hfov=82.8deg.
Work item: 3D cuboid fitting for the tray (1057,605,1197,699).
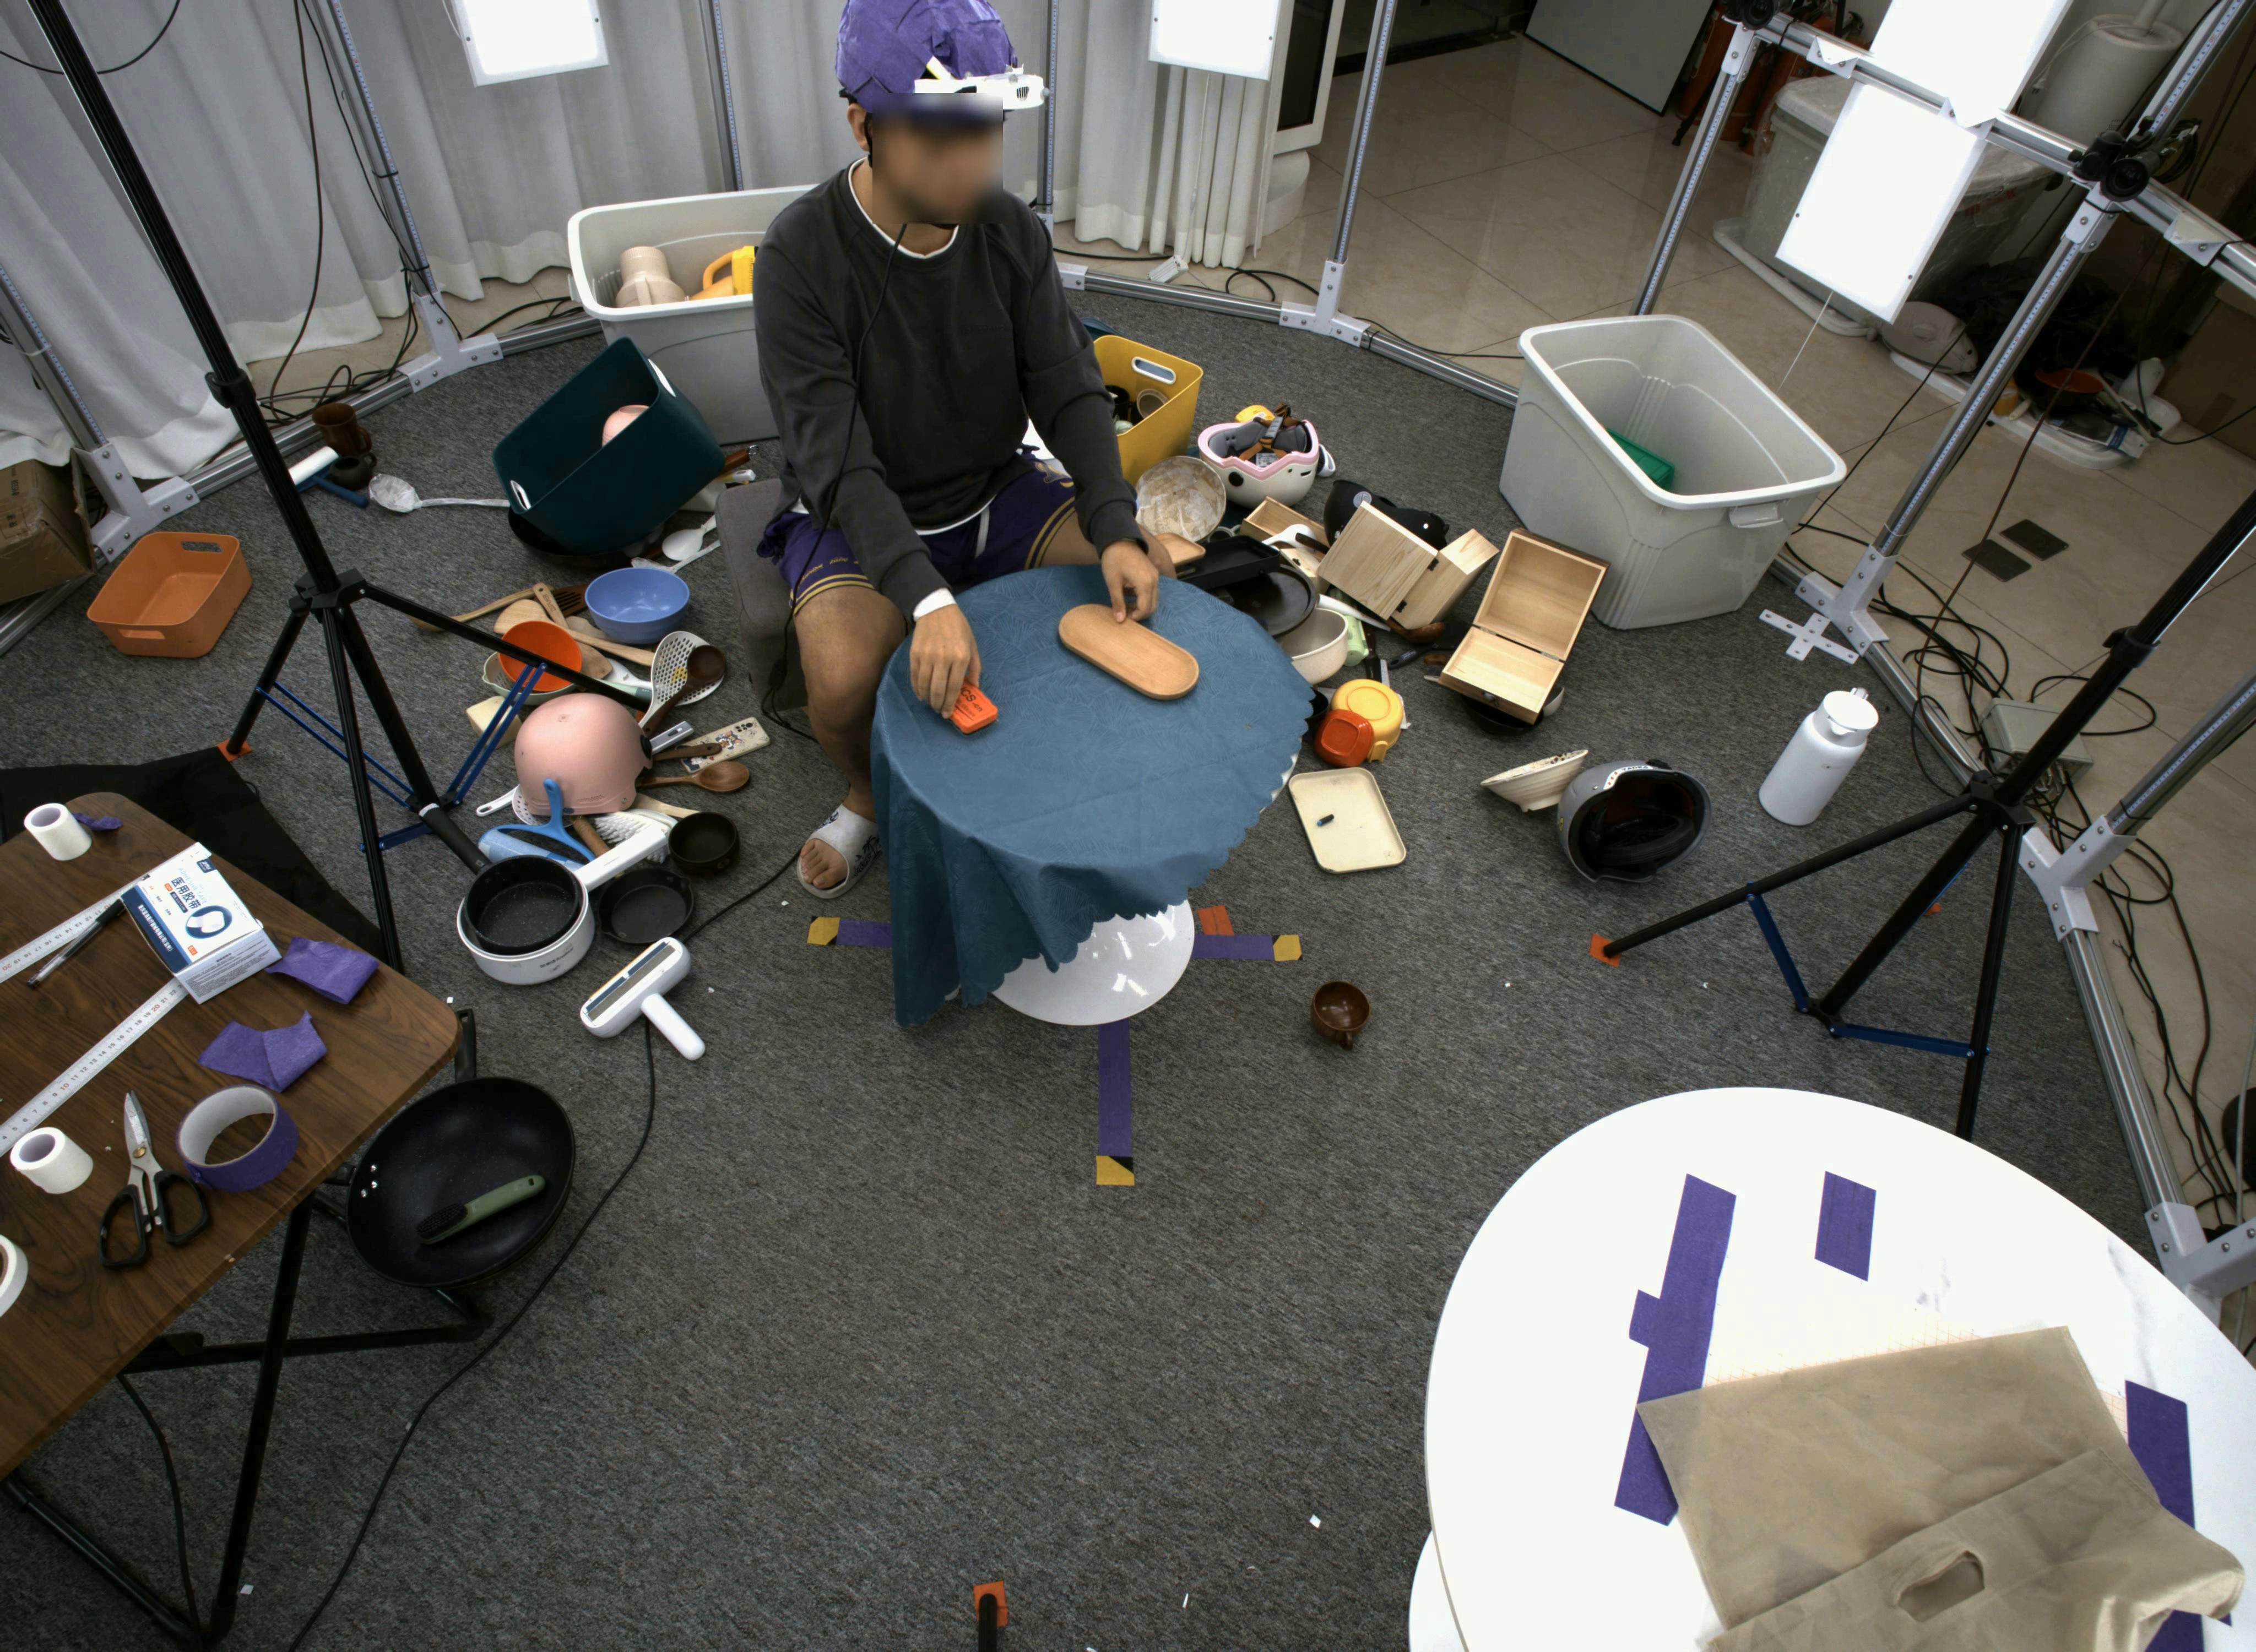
[{"bbox_3d":[-0.003,-0.255,1.876,0.234,0.020,0.103,31,55,23],"label":"tray"}]

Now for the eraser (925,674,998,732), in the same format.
[{"bbox_3d":[-0.232,-0.172,1.784,0.059,0.022,0.110,-8,44,-44],"label":"eraser"}]
